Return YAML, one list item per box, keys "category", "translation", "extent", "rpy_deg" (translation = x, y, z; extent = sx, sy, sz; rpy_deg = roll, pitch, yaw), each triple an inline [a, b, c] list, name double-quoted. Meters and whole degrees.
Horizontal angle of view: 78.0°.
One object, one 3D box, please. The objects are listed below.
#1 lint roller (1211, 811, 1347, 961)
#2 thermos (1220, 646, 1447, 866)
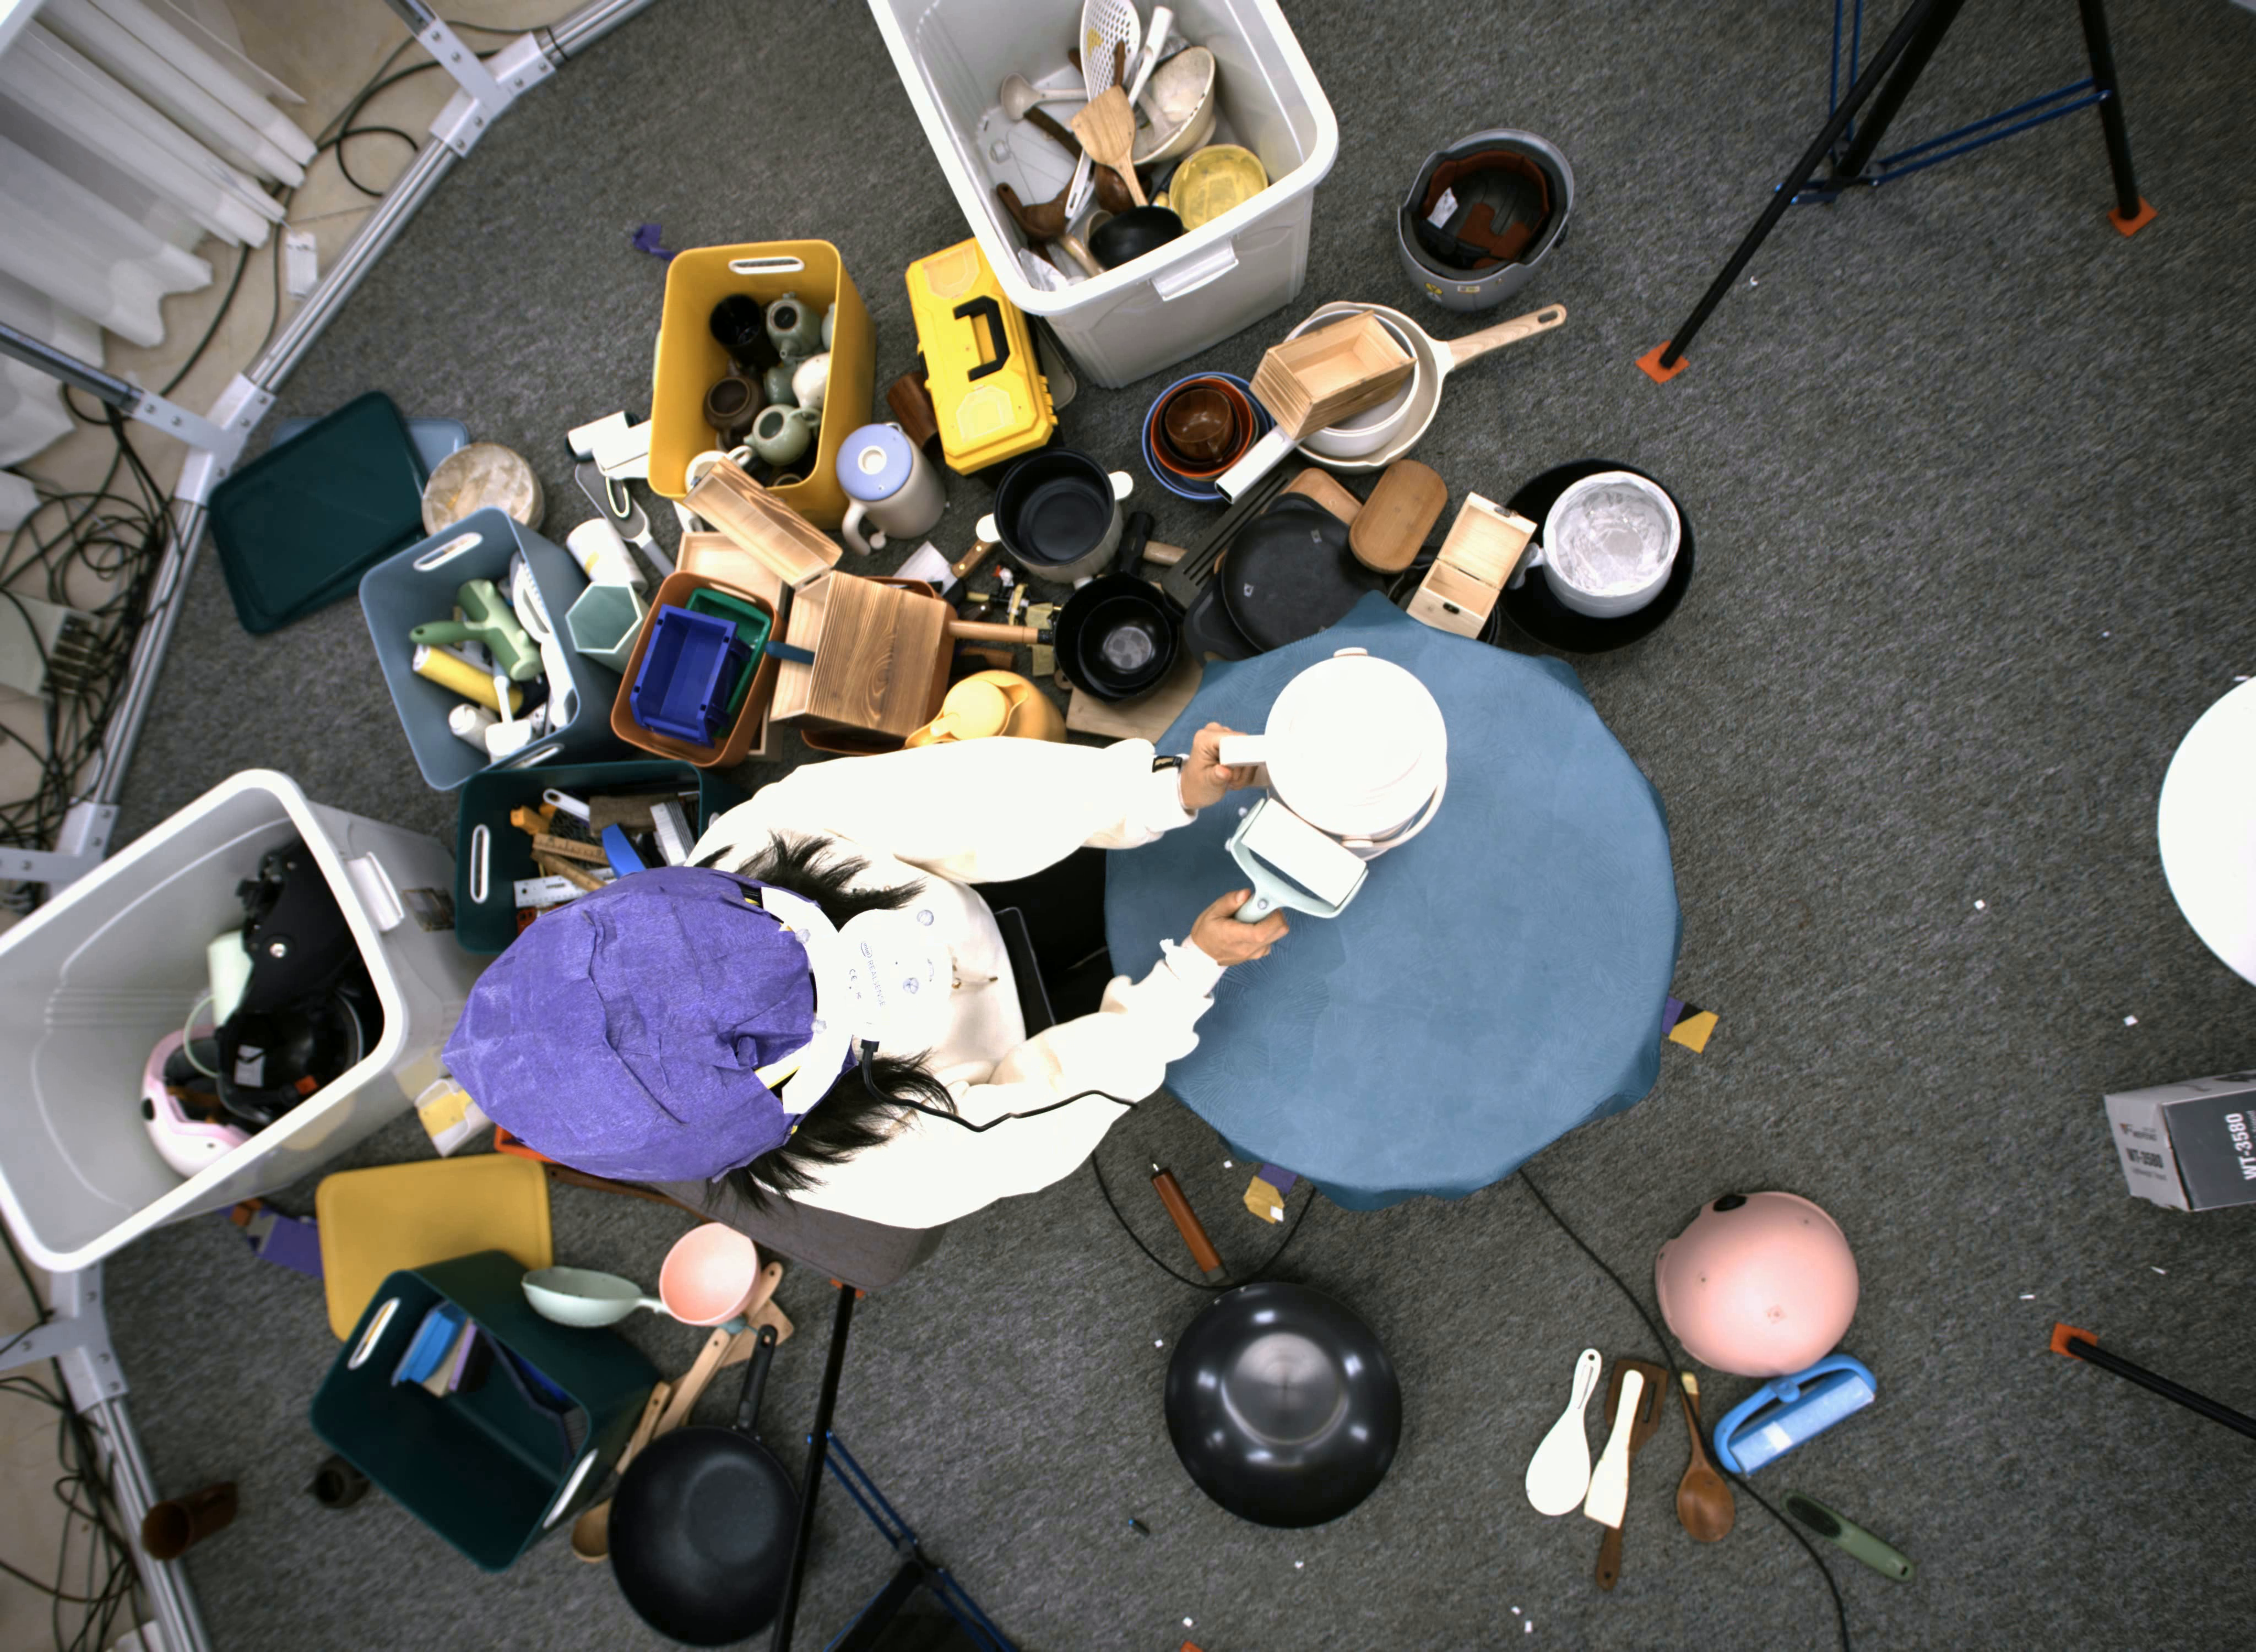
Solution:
- category: "lint roller"
  translation: [0.129, 0.071, 1.269]
  extent: [0.116, 0.202, 0.047]
  rpy_deg: [19, 51, 12]
- category: "thermos"
  translation: [0.192, -0.062, 1.276]
  extent: [0.208, 0.407, 0.174]
  rpy_deg: [-1, 84, 7]
